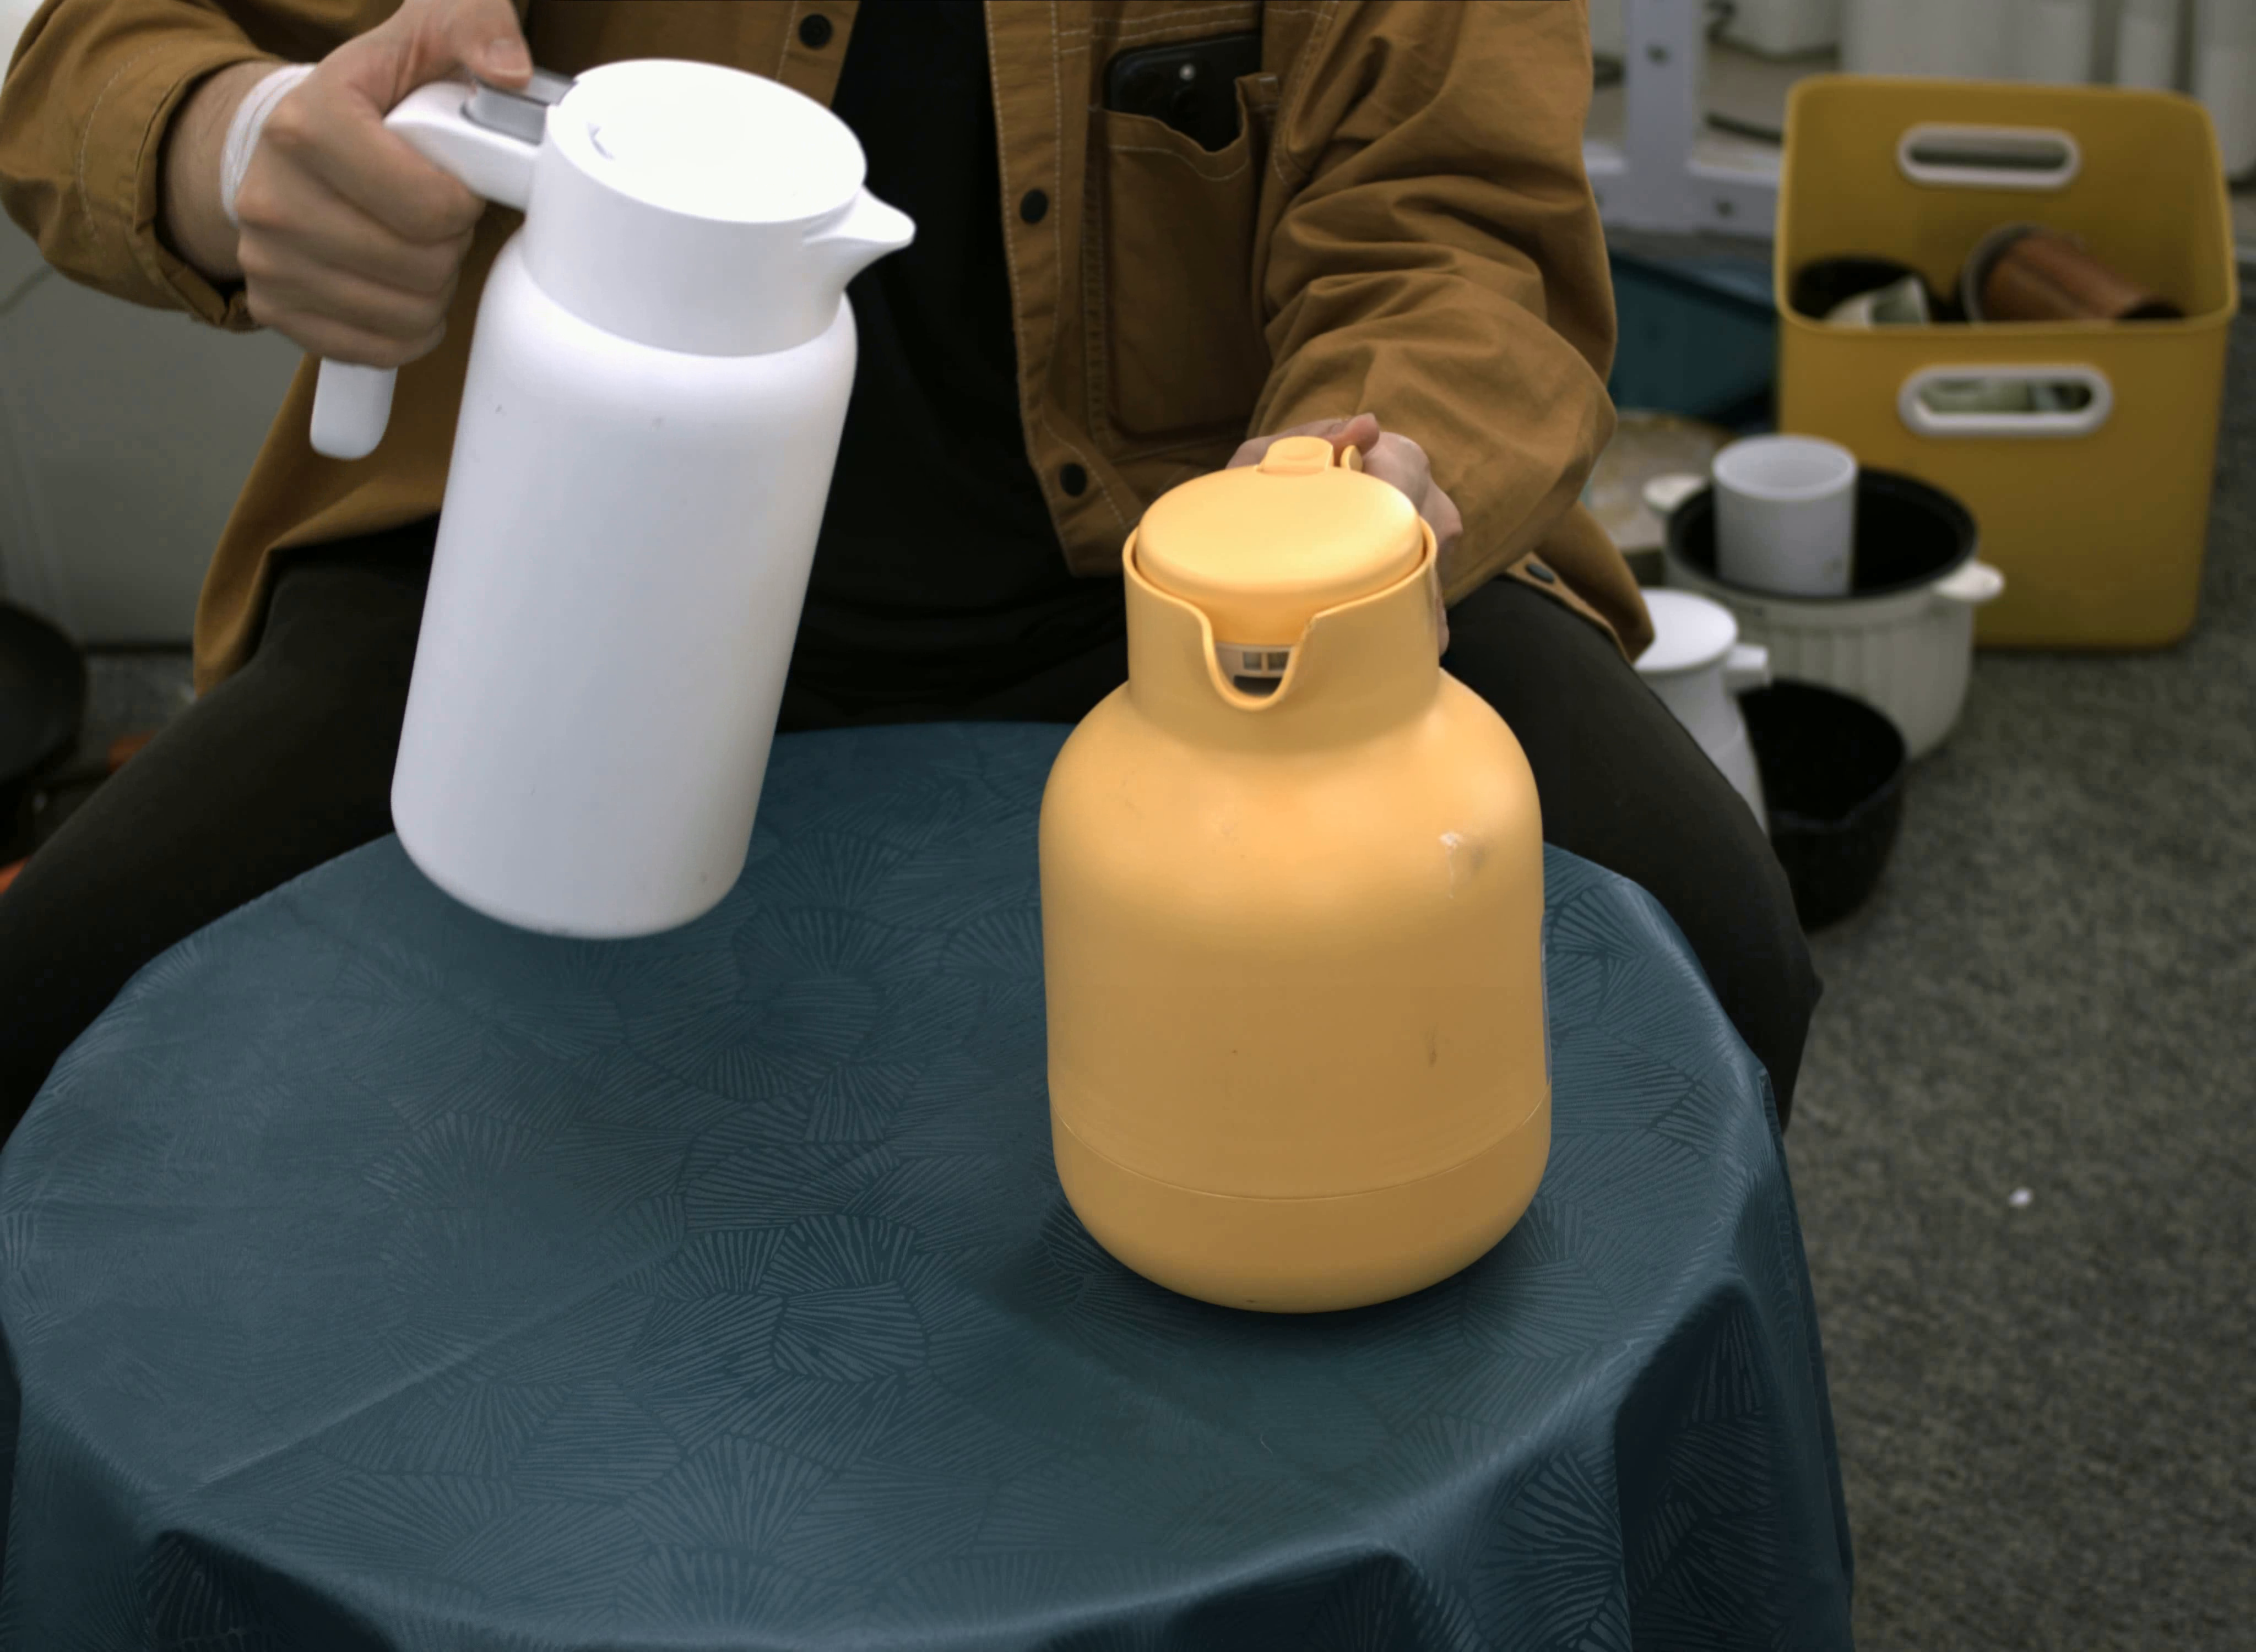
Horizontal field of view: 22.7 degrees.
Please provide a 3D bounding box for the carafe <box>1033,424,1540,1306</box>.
[{"bbox_3d":[0.055,0.003,1.800,0.162,0.257,0.206,5,29,10],"label":"carafe"}]

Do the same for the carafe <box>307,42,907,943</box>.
[{"bbox_3d":[-0.173,-0.106,1.763,0.172,0.265,0.126,18,33,6],"label":"carafe"}]
